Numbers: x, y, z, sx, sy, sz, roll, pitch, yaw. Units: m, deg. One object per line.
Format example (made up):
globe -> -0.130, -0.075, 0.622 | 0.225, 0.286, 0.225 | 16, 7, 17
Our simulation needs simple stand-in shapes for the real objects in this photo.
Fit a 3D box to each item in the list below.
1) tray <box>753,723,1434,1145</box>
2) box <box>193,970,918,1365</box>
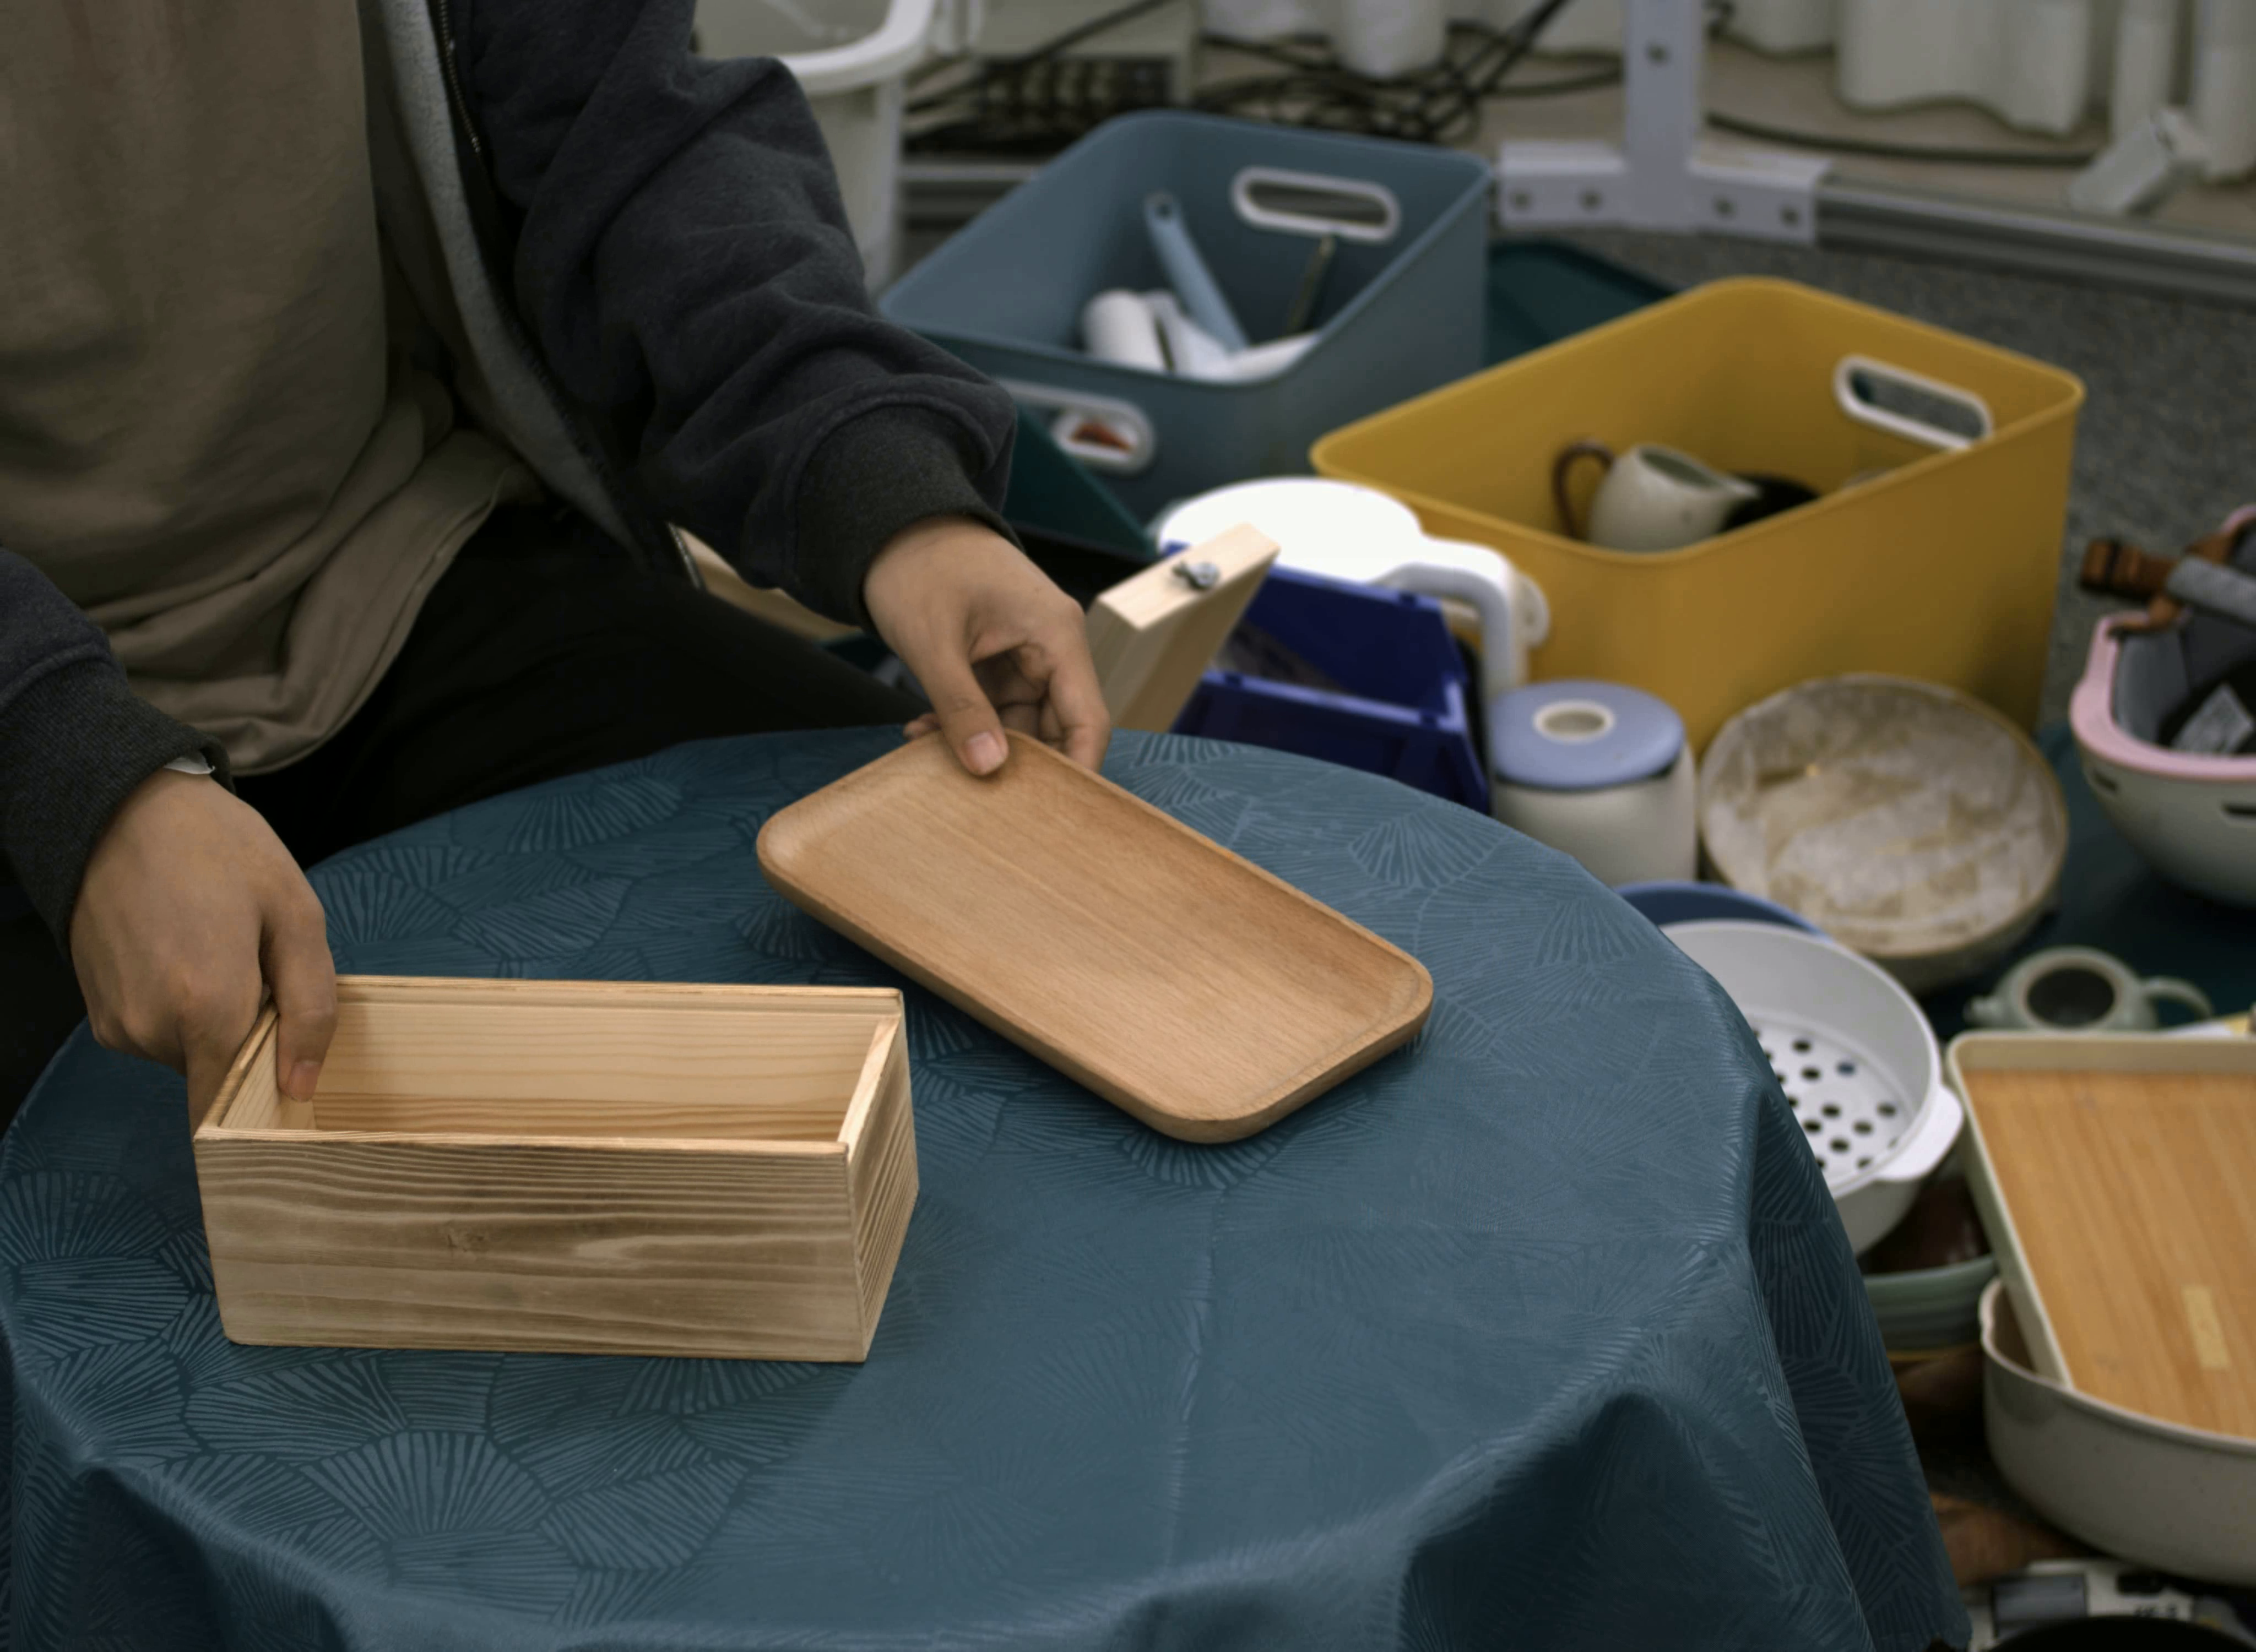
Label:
tray -> -0.014, 0.036, 1.980 | 0.132, 0.022, 0.251 | -25, 40, -36
box -> -0.183, 0.110, 1.818 | 0.210, 0.079, 0.109 | 1, 27, 8
